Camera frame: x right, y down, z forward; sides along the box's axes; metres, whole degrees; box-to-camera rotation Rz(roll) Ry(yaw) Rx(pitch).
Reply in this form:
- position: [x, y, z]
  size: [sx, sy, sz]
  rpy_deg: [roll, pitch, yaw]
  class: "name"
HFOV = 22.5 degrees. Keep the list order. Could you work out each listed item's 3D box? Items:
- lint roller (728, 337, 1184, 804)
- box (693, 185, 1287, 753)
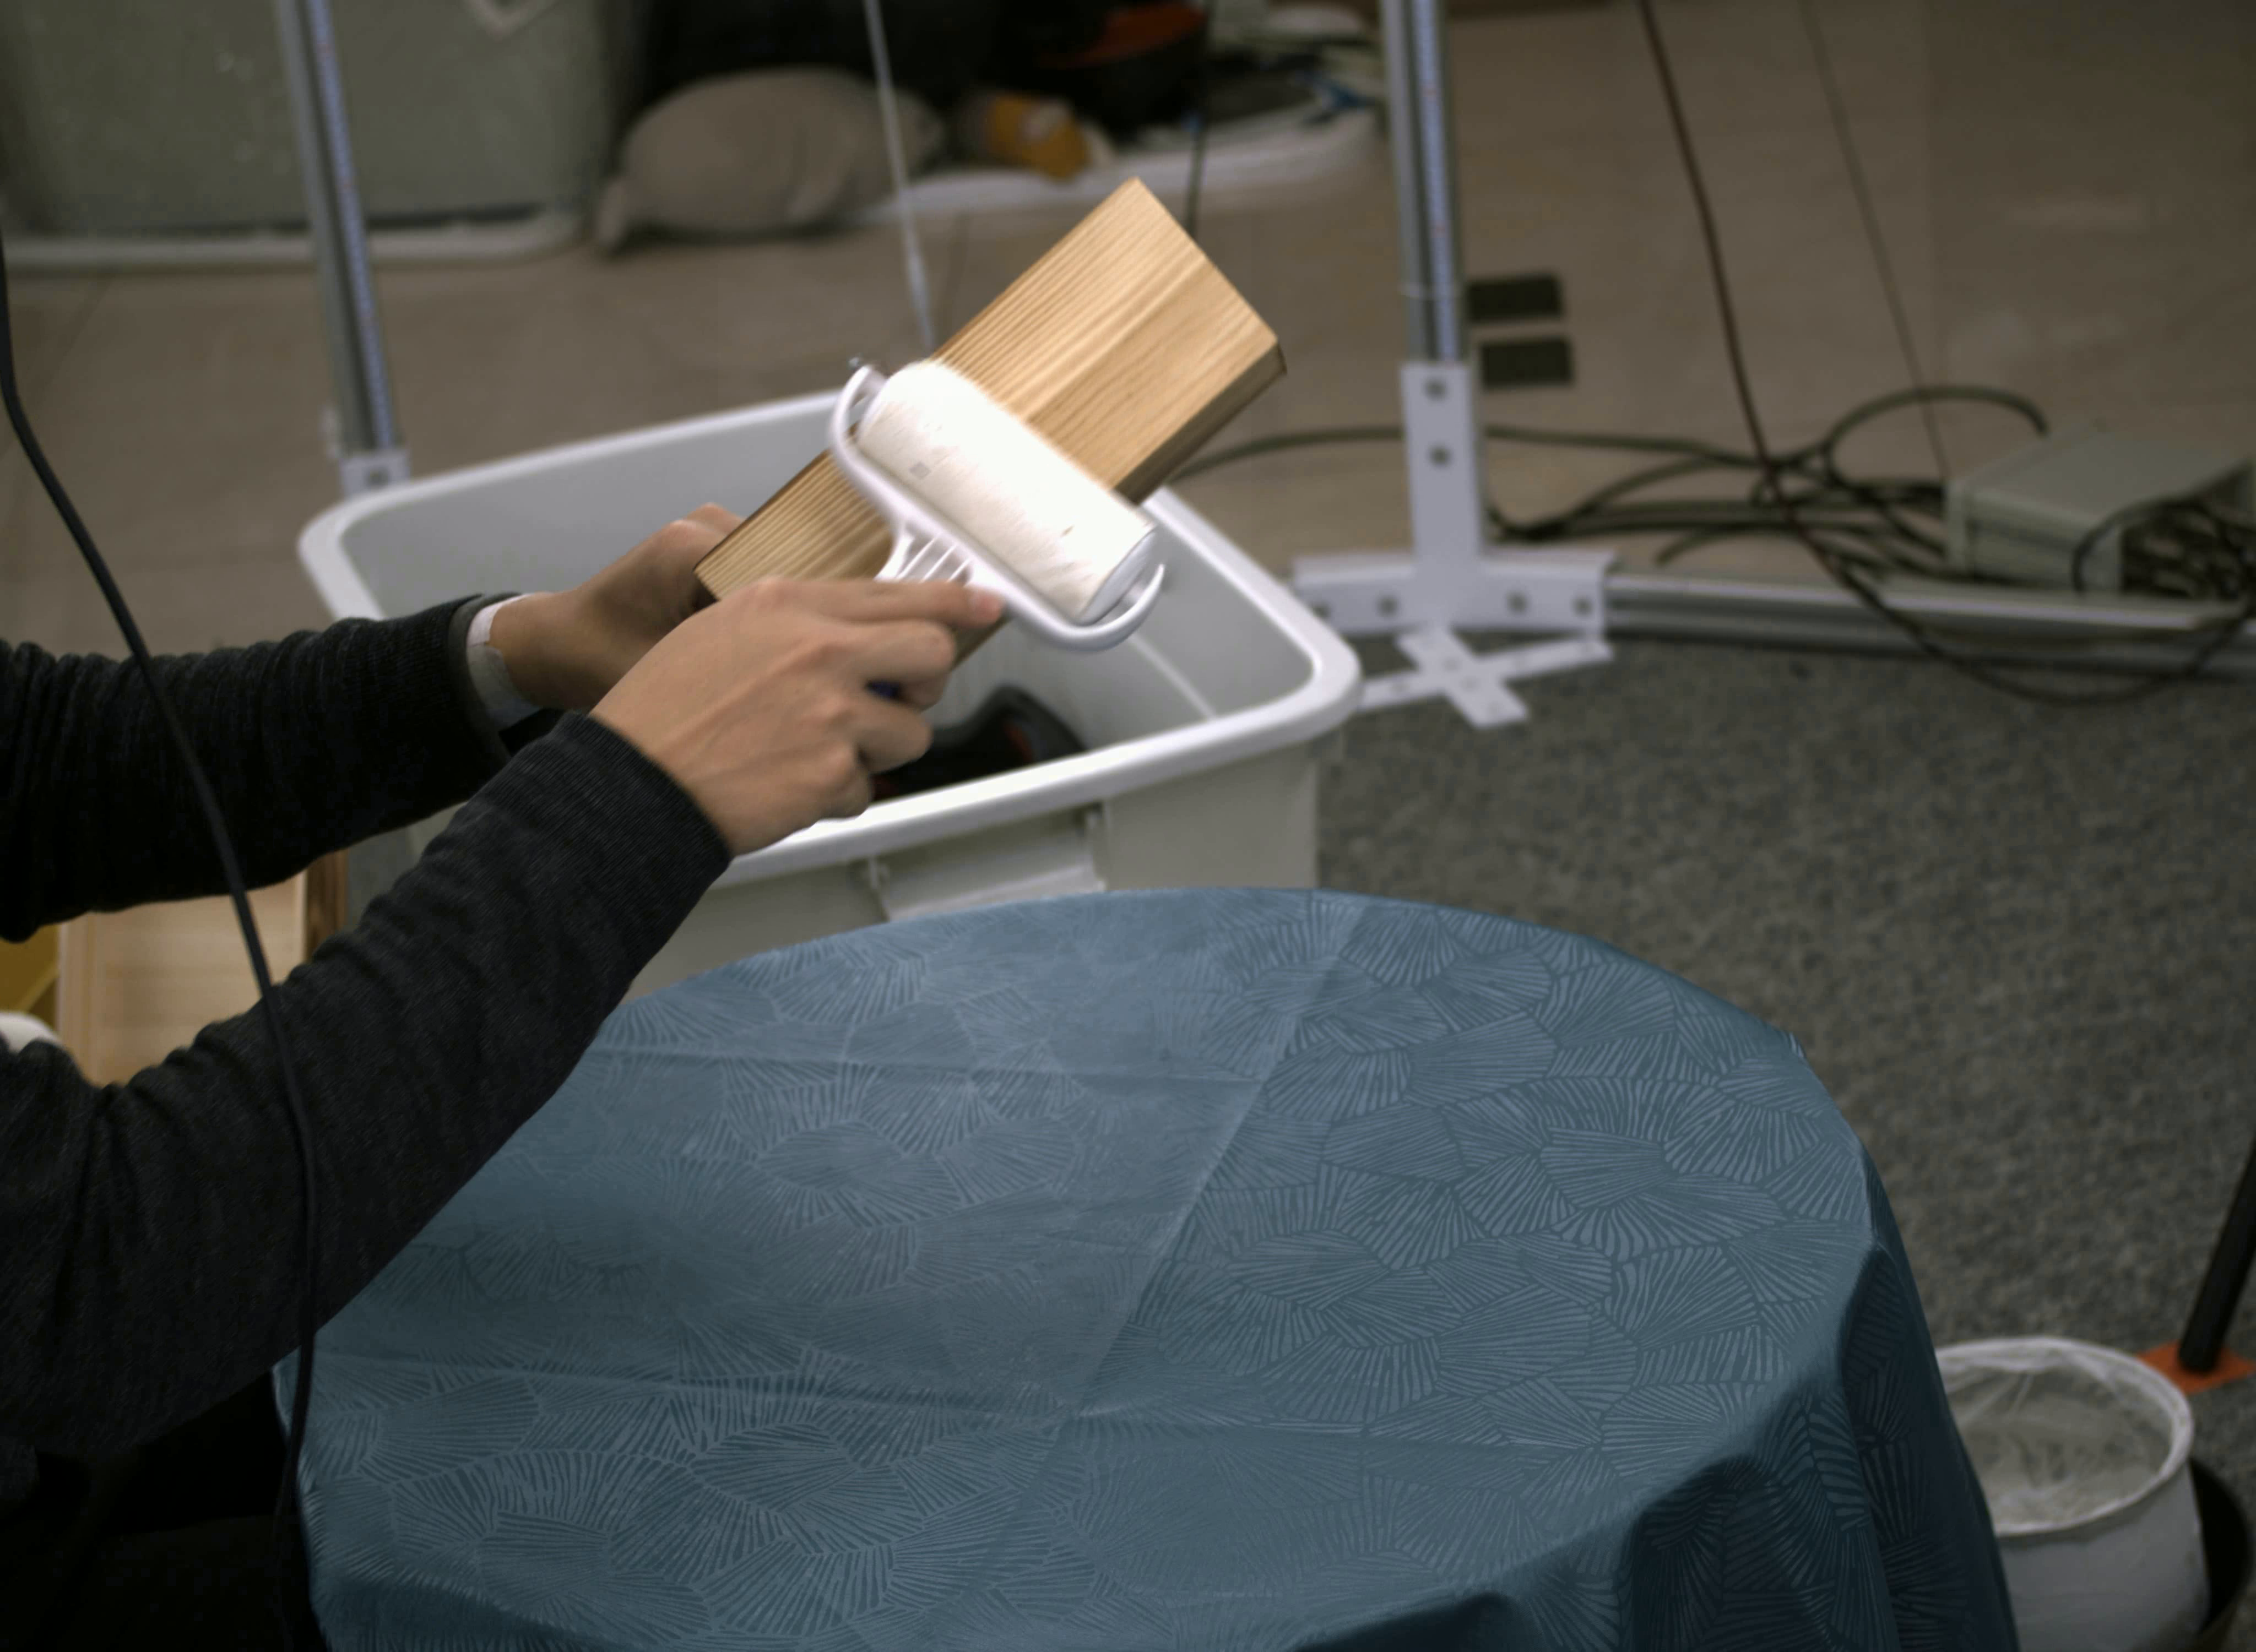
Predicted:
- position: [-0.077, -0.079, 1.941]
  size: [0.133, 0.051, 0.179]
  rpy_deg: [42, 60, 2]
  class: "lint roller"
- position: [-0.048, -0.127, 2.048]
  size: [0.211, 0.080, 0.107]
  rpy_deg: [-42, -3, 3]
  class: "box"
